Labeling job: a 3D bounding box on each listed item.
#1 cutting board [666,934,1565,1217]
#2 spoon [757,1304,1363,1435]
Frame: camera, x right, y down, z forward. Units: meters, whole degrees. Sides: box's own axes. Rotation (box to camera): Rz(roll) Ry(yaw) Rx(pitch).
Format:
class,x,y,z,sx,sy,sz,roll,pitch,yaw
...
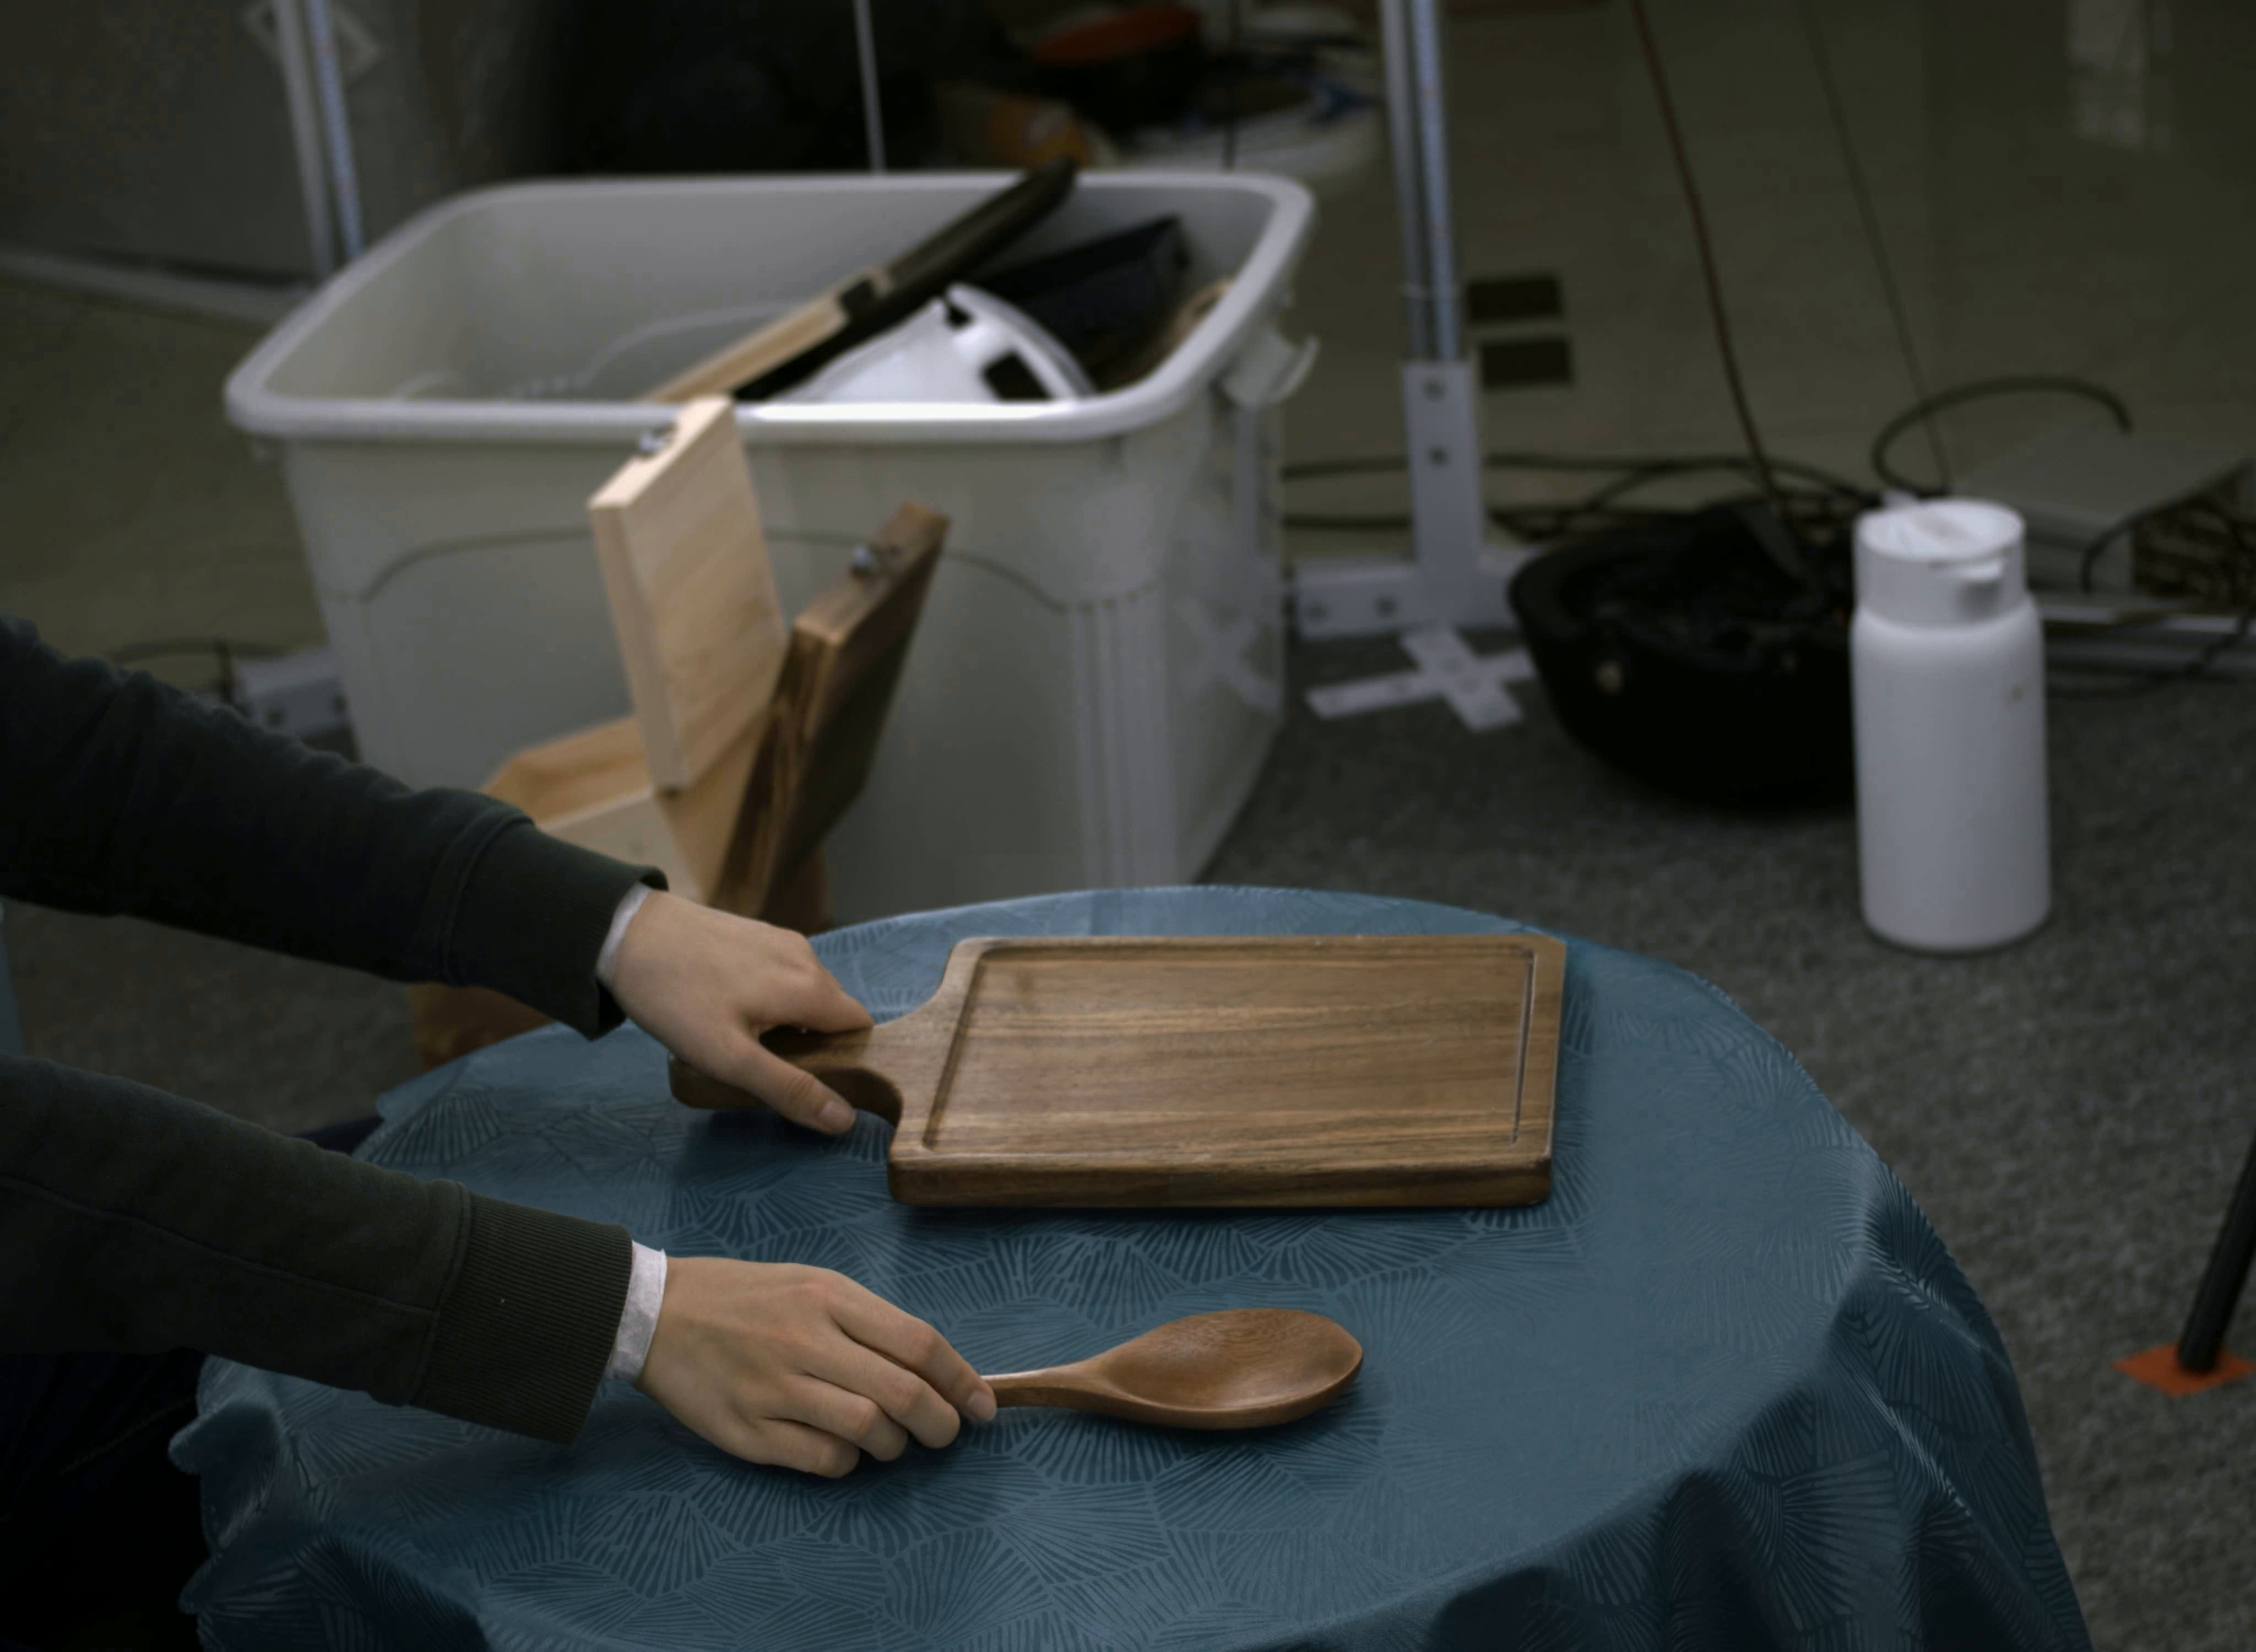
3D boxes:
class,x,y,z,sx,sy,sz,roll,pitch,yaw
cutting board,-0.006,0.095,2.209,0.351,0.023,0.198,-1,26,7
spoon,-0.024,0.199,2.009,0.215,0.017,0.074,-4,27,3
